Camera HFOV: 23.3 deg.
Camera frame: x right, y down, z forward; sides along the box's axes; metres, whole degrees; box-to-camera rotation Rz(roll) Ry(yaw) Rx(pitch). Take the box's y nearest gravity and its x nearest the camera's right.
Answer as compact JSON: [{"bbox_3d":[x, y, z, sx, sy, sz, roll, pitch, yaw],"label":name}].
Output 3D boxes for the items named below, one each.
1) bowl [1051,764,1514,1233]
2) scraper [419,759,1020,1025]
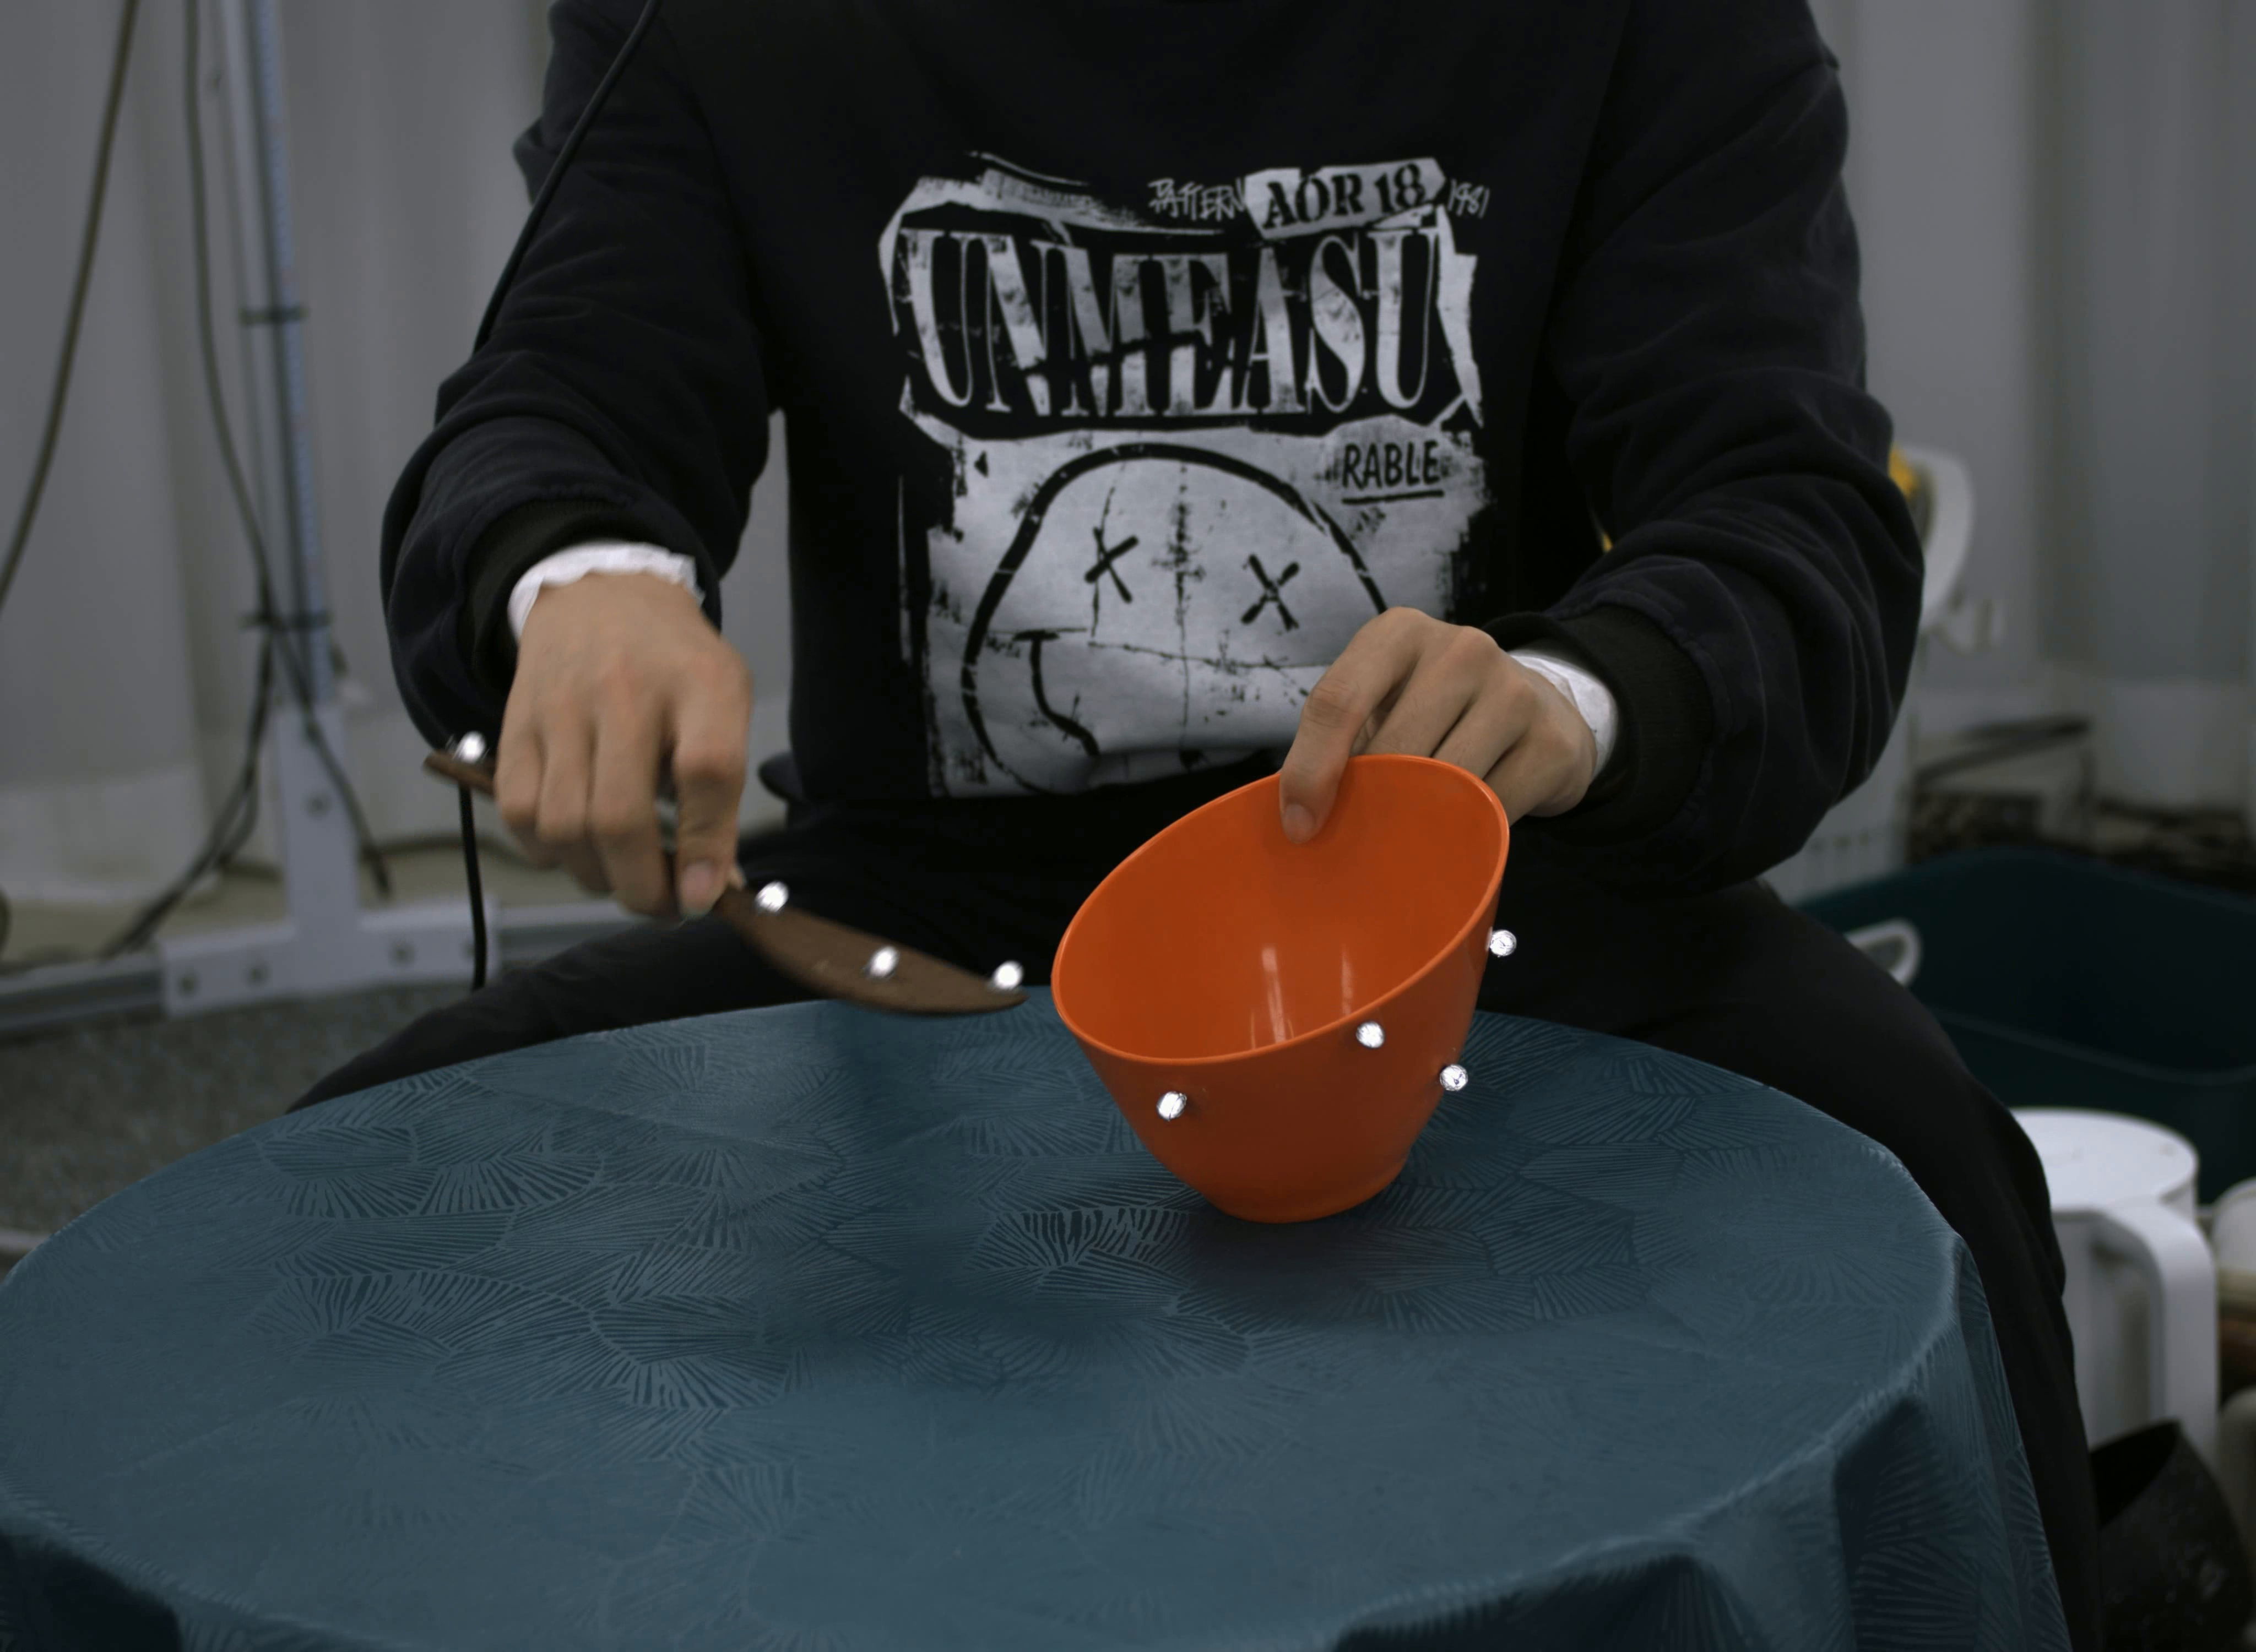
[{"bbox_3d":[0.055,0.061,1.680,0.147,0.103,0.150,-10,29,5],"label":"bowl"},{"bbox_3d":[-0.130,0.020,1.651,0.212,0.011,0.075,25,13,28],"label":"scraper"}]
